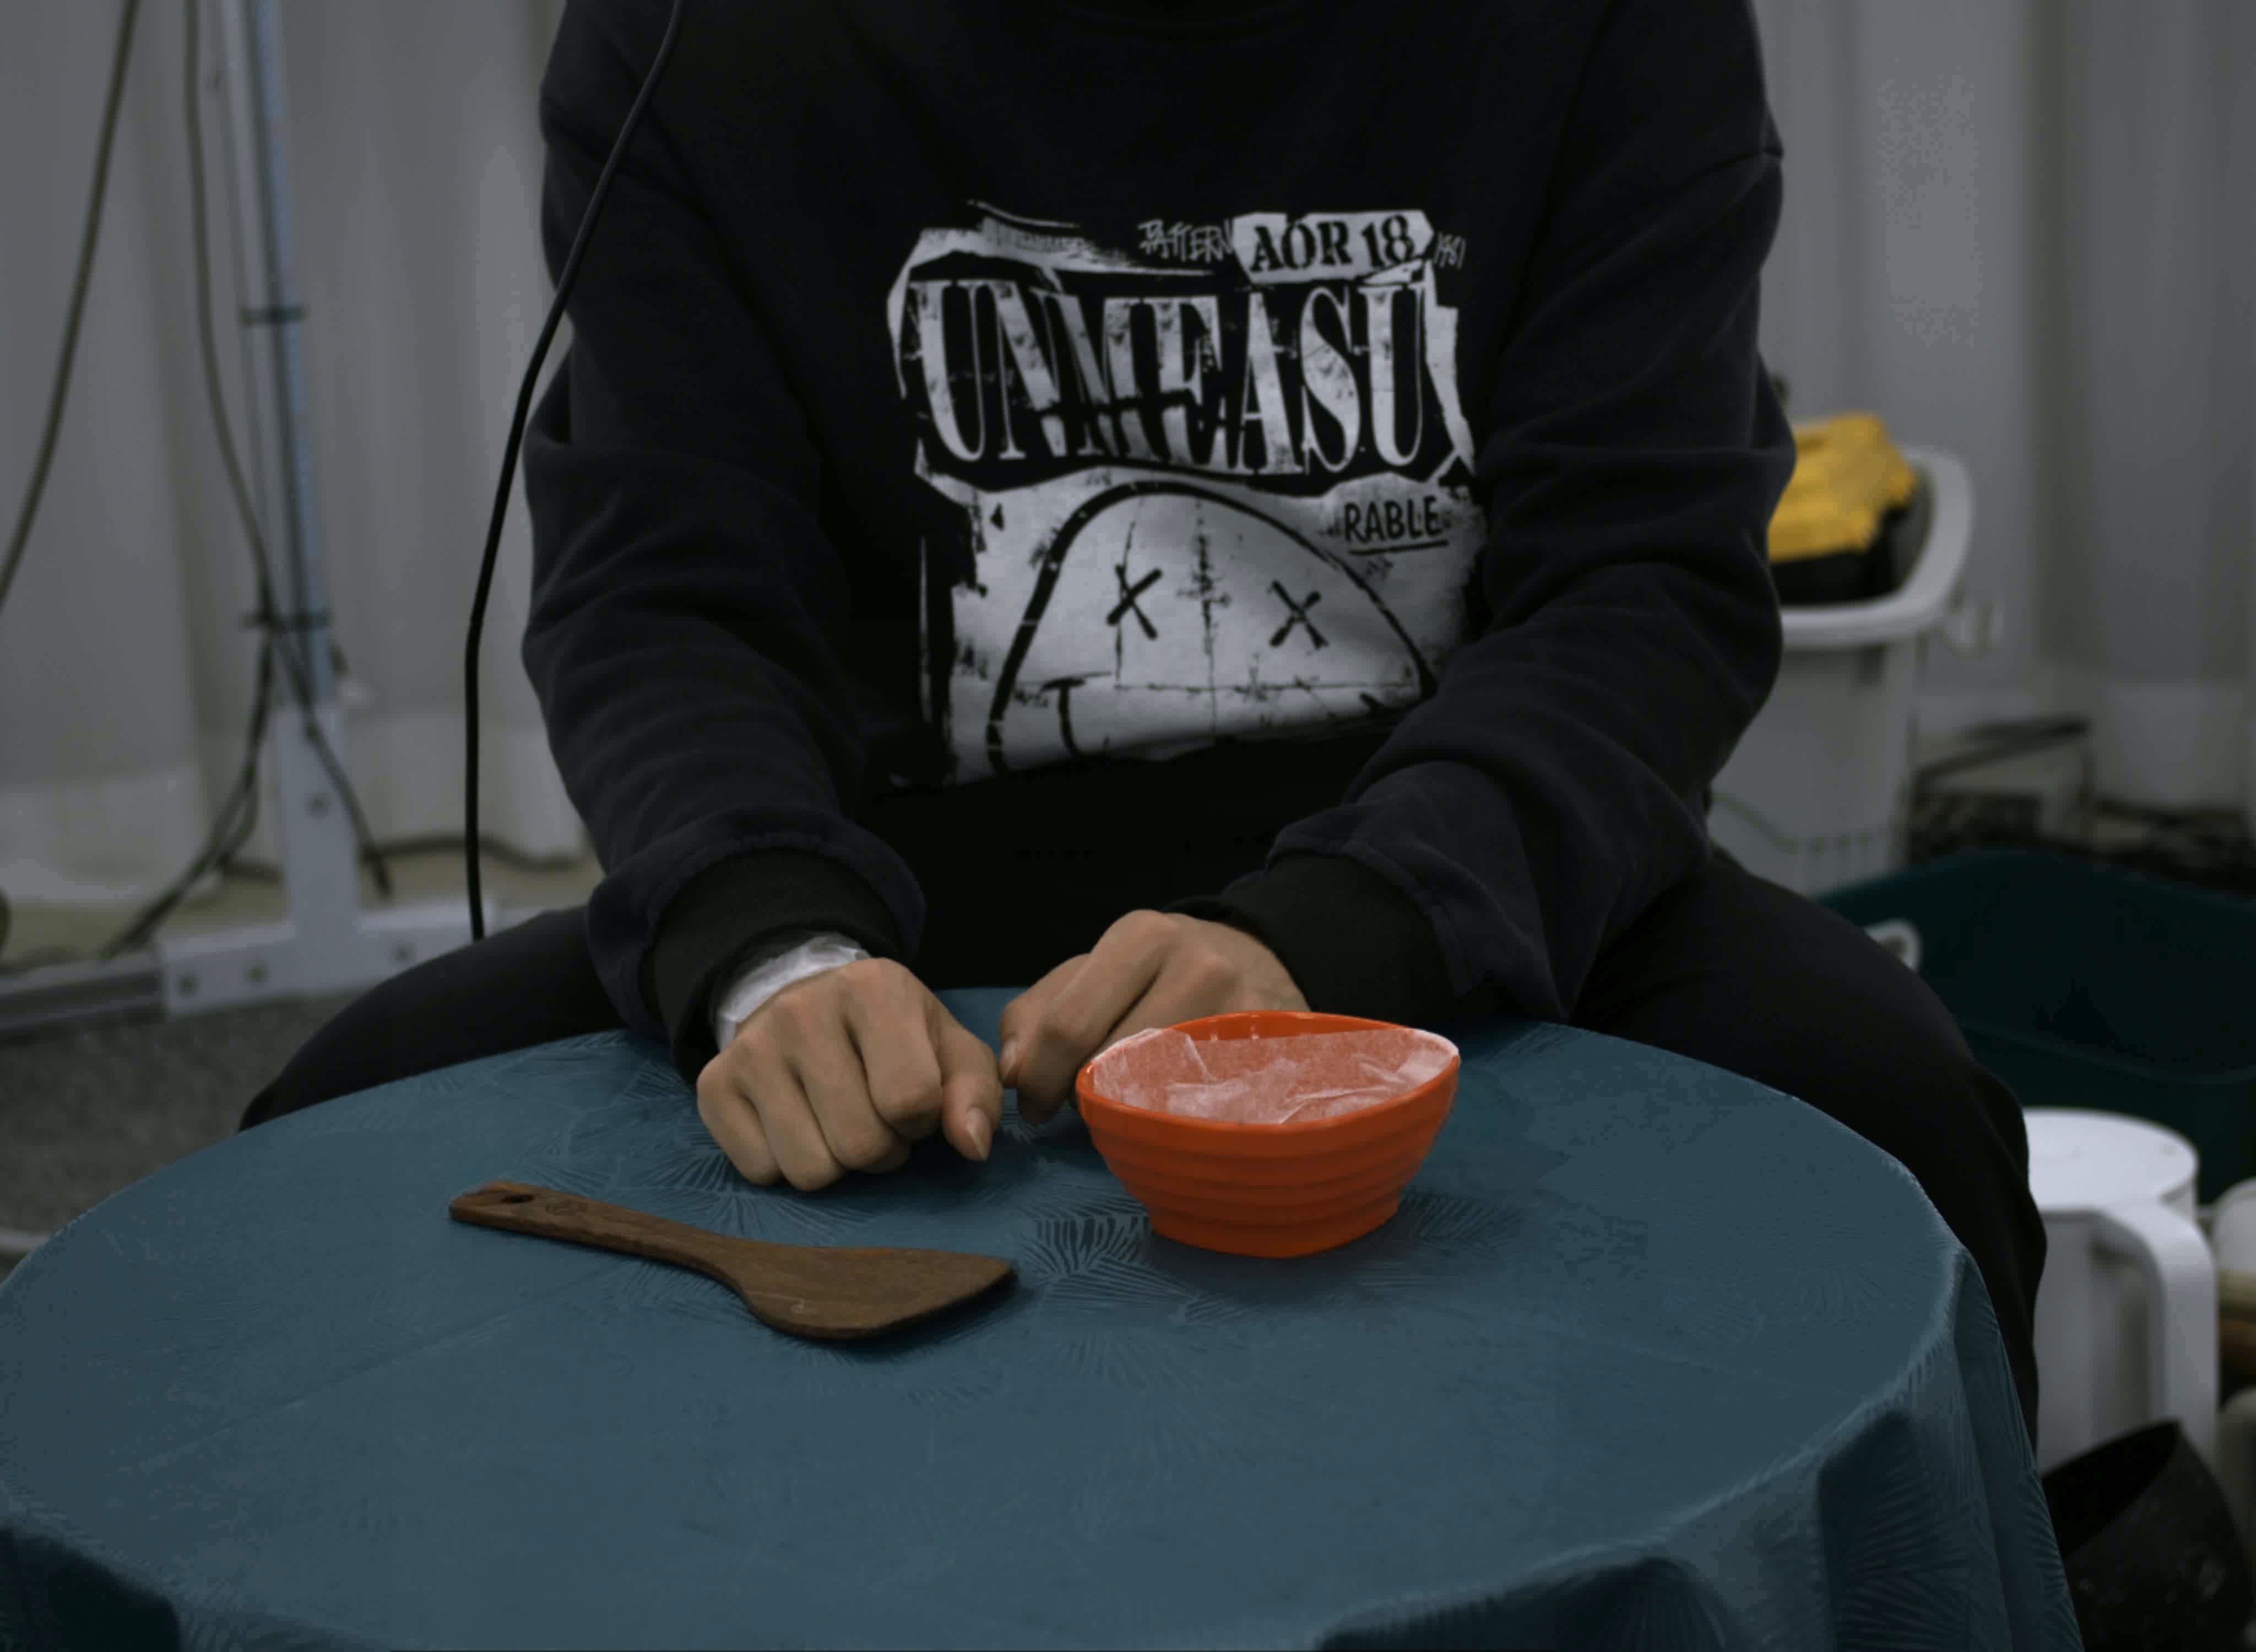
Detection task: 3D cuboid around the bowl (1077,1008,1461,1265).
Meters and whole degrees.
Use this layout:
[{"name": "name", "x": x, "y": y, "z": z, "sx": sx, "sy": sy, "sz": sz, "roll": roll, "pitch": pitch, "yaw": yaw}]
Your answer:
[{"name": "bowl", "x": 0.044, "y": 0.097, "z": 1.676, "sx": 0.118, "sy": 0.051, "sz": 0.120, "roll": -3, "pitch": 17, "yaw": 1}]

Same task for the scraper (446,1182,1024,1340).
[{"name": "scraper", "x": -0.128, "y": 0.130, "z": 1.667, "sx": 0.212, "sy": 0.011, "sz": 0.076, "roll": 9, "pitch": 18, "yaw": 39}]
